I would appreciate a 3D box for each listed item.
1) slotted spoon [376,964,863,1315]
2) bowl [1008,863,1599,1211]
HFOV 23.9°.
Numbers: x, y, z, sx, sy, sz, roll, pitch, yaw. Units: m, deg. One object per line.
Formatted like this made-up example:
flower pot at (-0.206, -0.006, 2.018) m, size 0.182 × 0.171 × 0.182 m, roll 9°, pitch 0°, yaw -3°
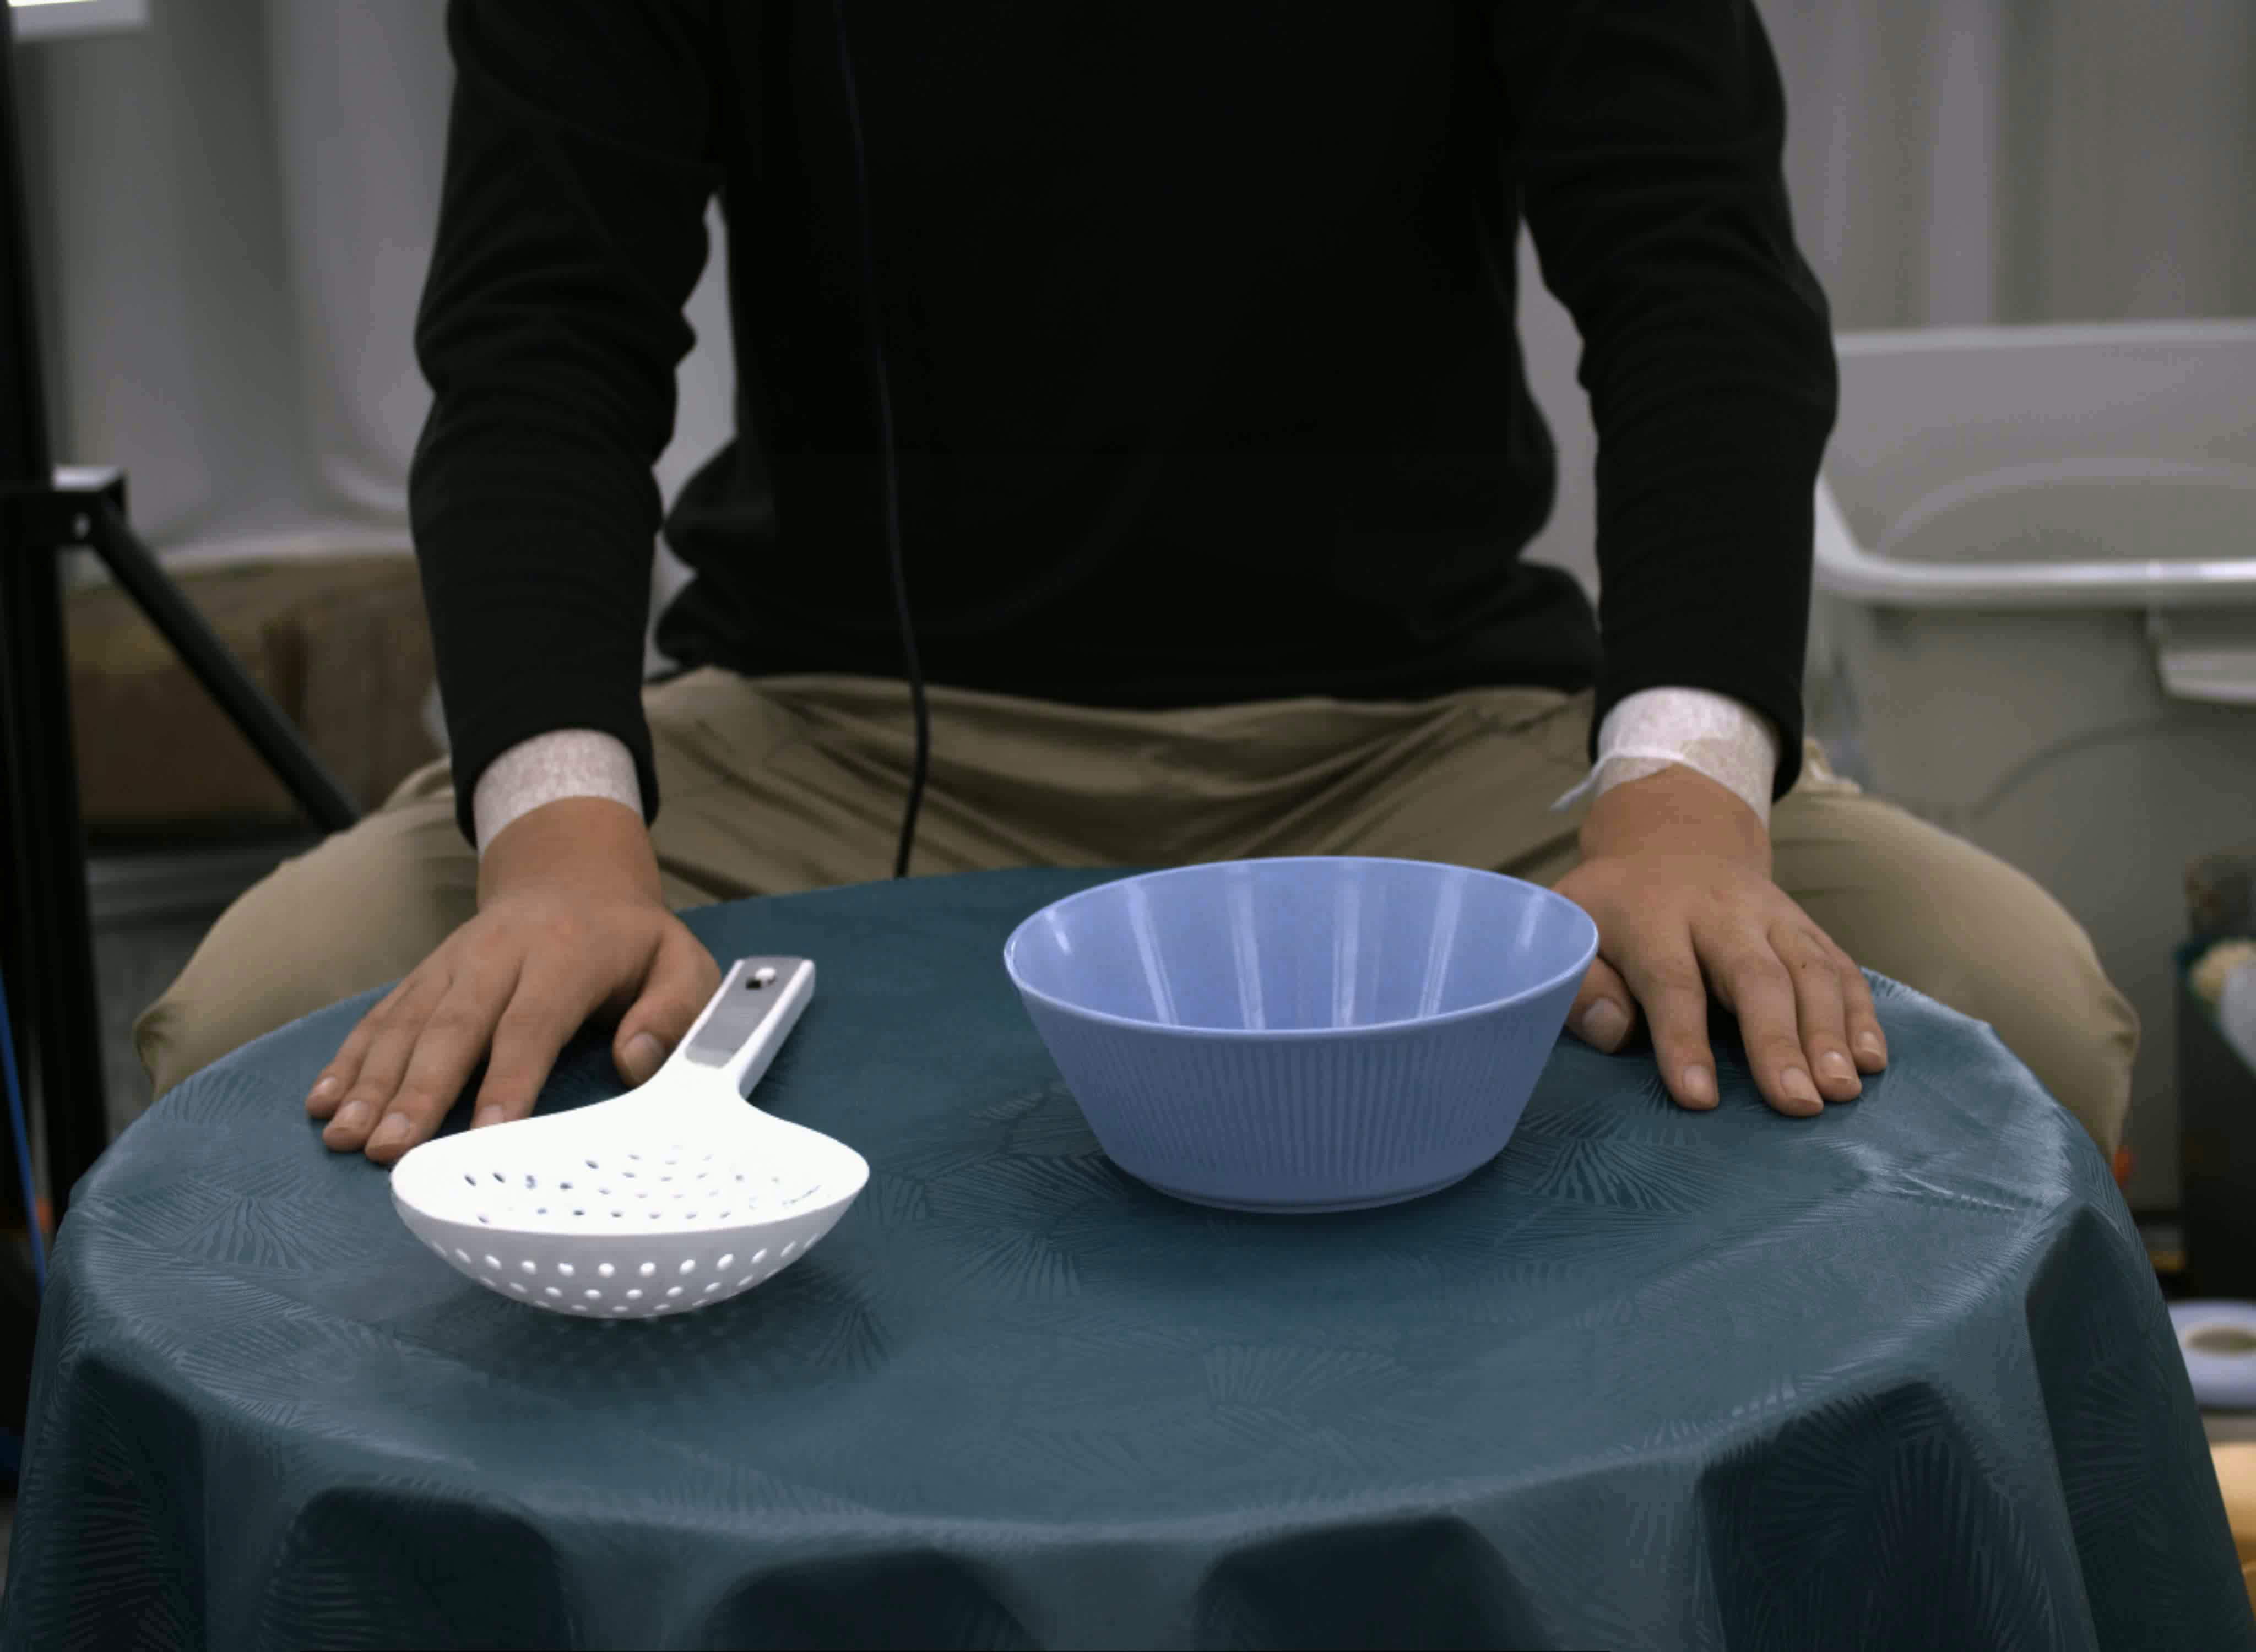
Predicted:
slotted spoon at (-0.132, 0.083, 1.584) m, size 0.136 × 0.046 × 0.349 m, roll 0°, pitch 15°, yaw 5°
bowl at (0.053, 0.065, 1.574) m, size 0.175 × 0.070 × 0.177 m, roll -3°, pitch 14°, yaw -1°
